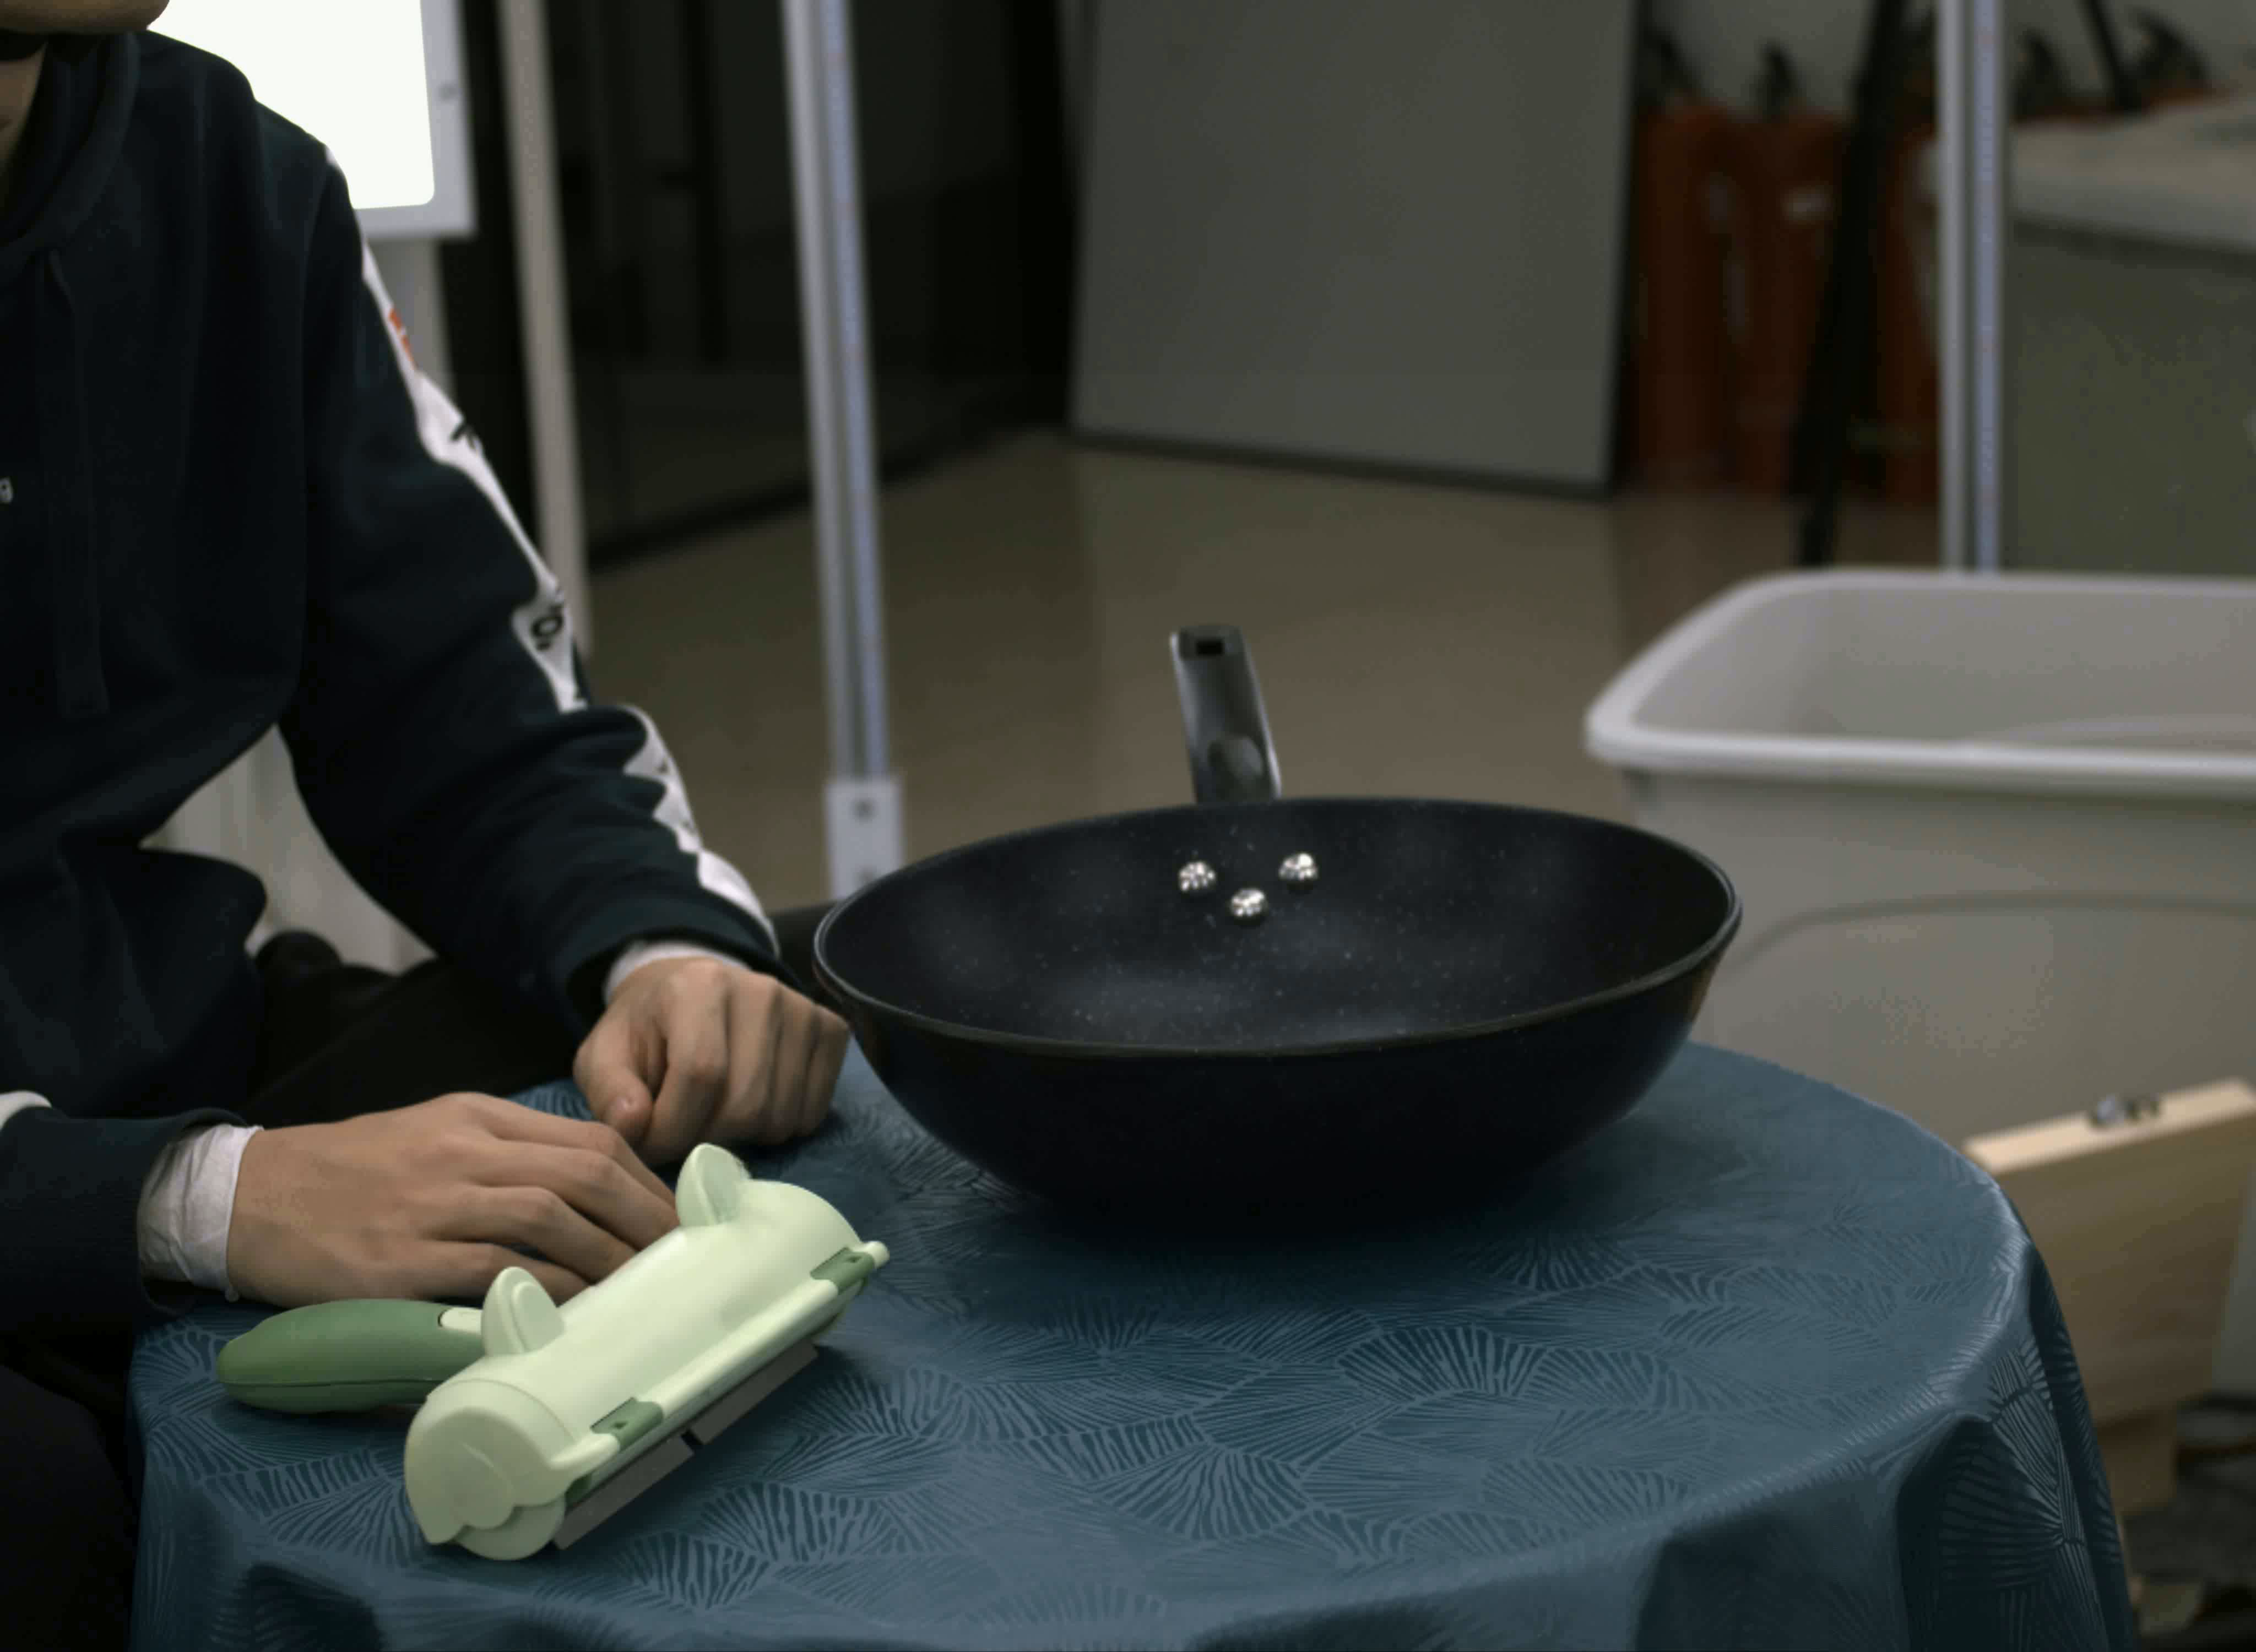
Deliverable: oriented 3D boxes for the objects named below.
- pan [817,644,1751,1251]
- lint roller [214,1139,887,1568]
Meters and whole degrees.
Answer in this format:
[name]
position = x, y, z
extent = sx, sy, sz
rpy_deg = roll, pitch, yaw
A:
[pan]
position = 0.047, 0.042, 1.857
extent = 0.306, 0.113, 0.478
rpy_deg = -3, 14, -2
[lint roller]
position = -0.190, 0.142, 1.585
extent = 0.183, 0.083, 0.196
rpy_deg = 8, 18, 24
